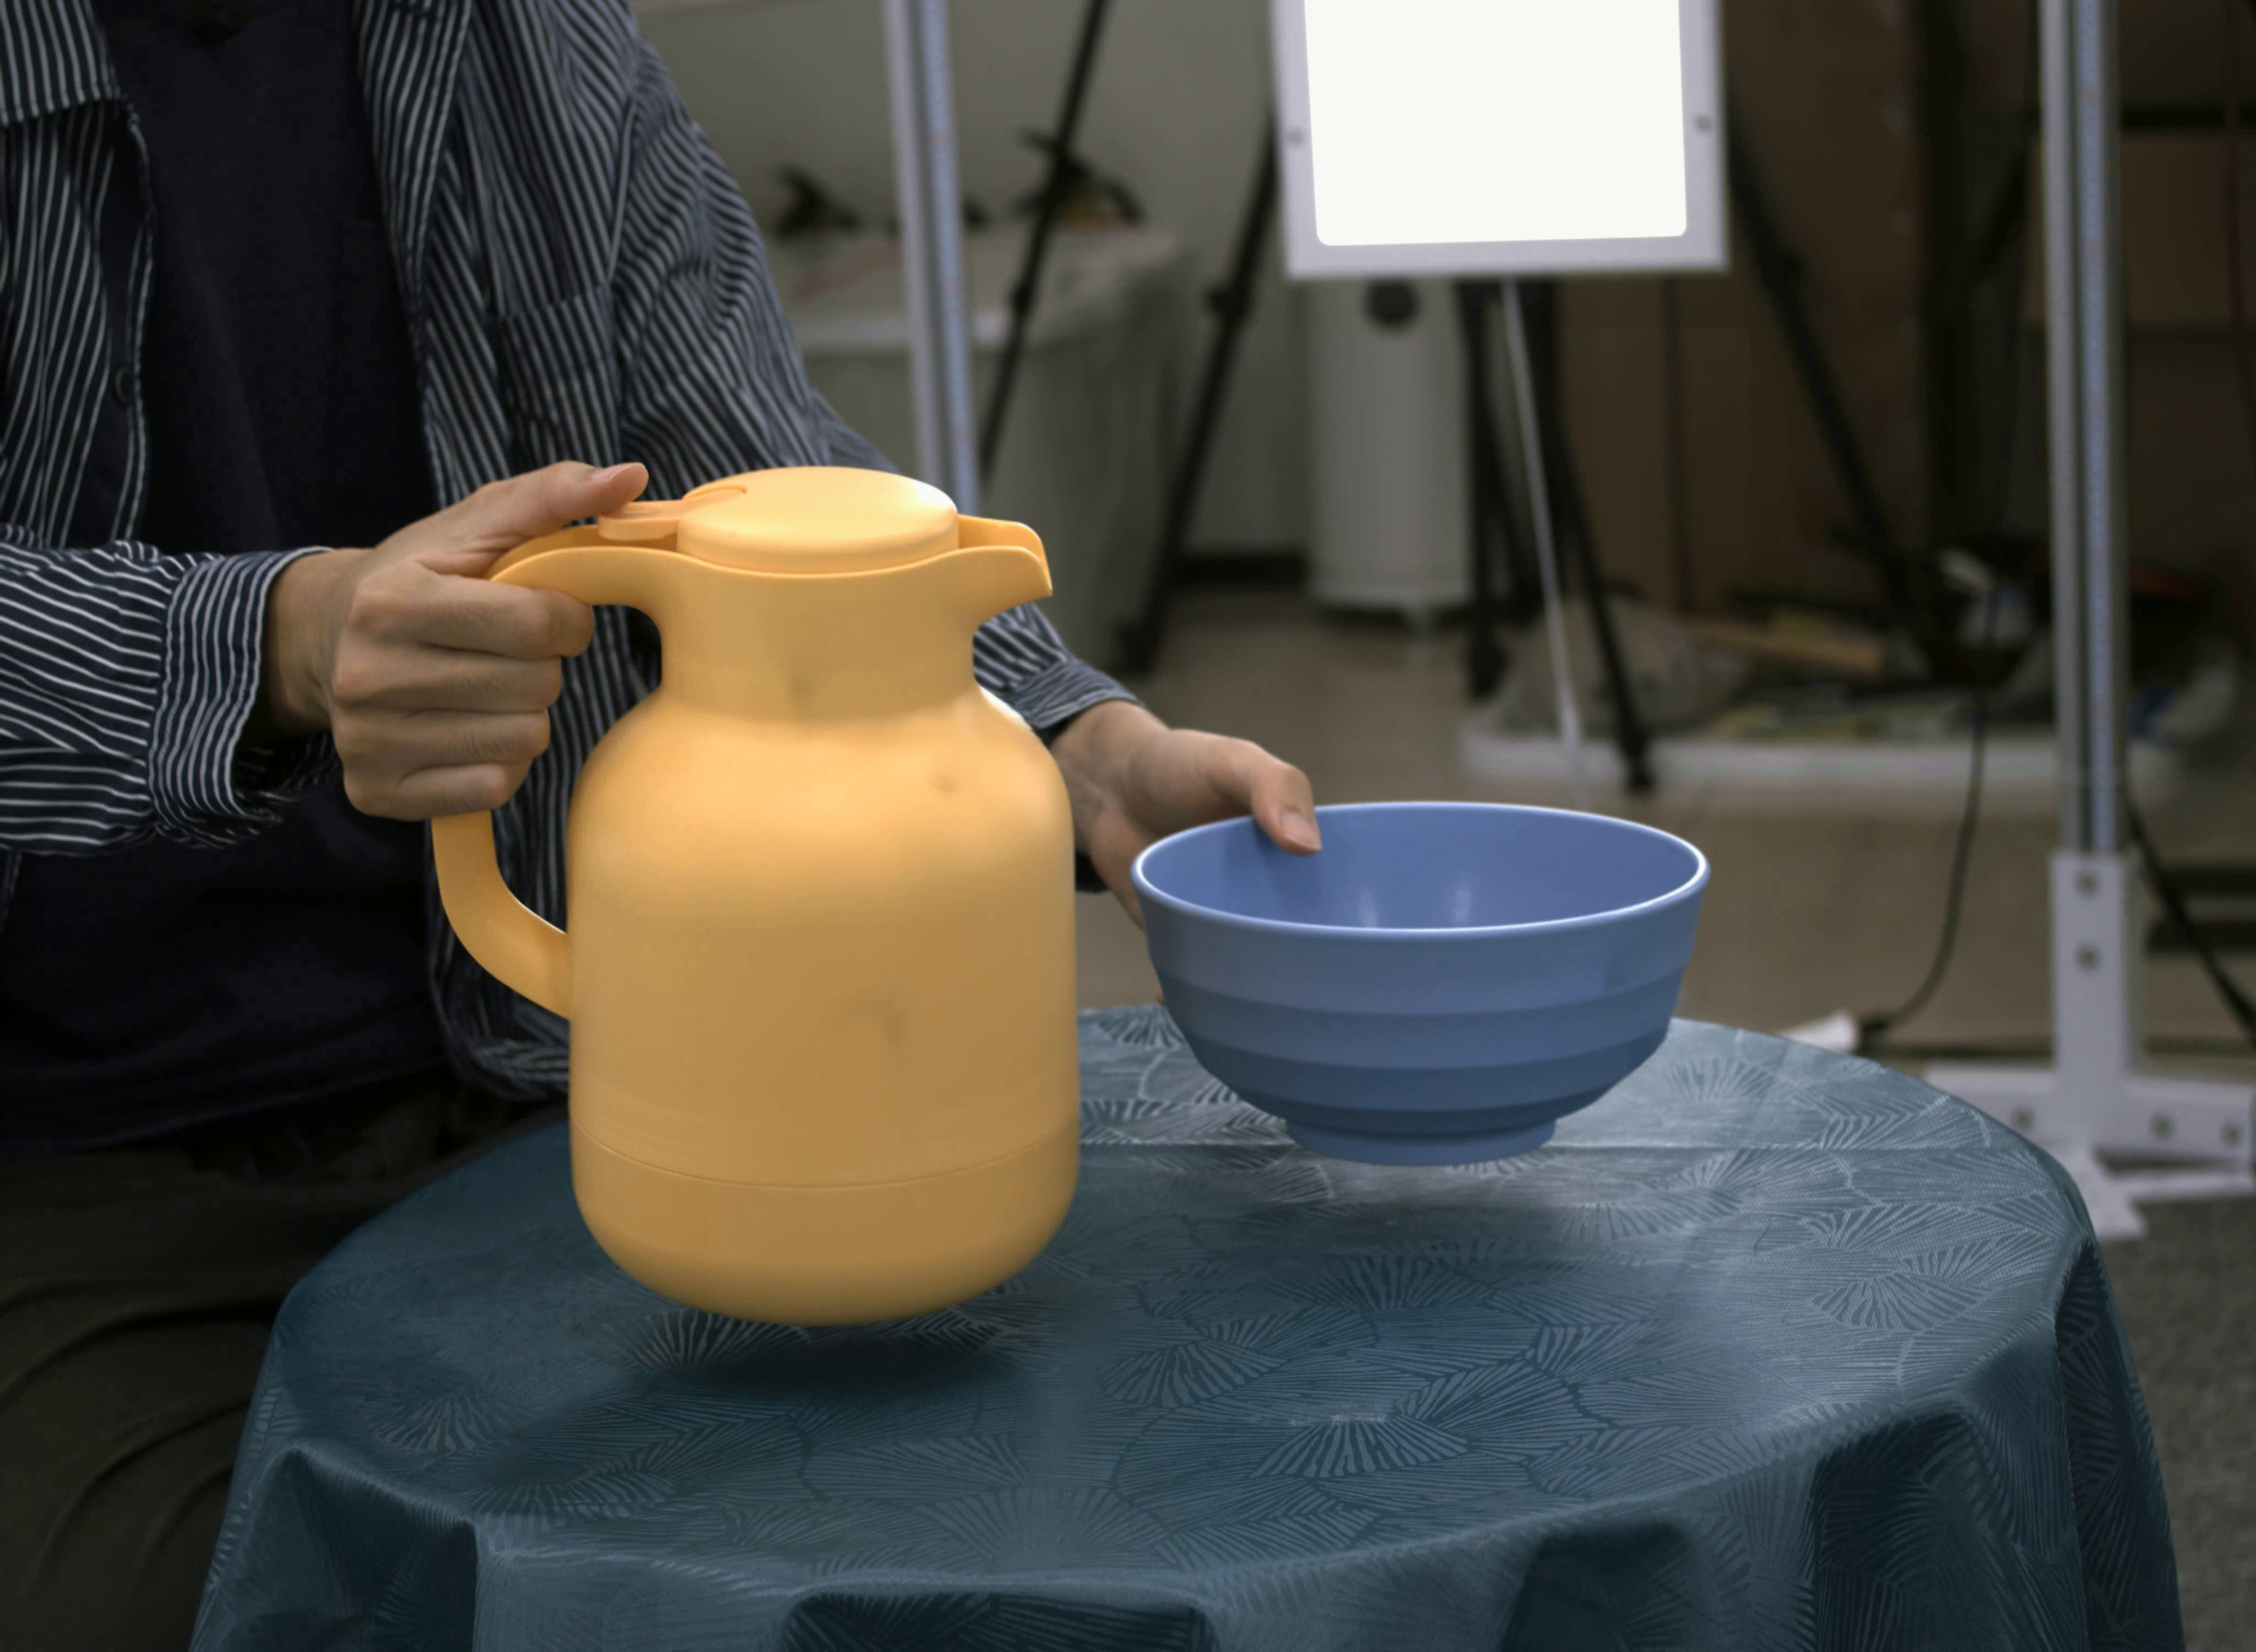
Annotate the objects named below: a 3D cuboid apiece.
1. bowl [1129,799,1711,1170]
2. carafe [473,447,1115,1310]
[{"bbox_3d":[0.099,0.058,1.856,0.196,0.096,0.196,-2,13,-1],"label":"bowl"},{"bbox_3d":[-0.105,0.012,1.746,0.202,0.262,0.163,0,20,0],"label":"carafe"}]
